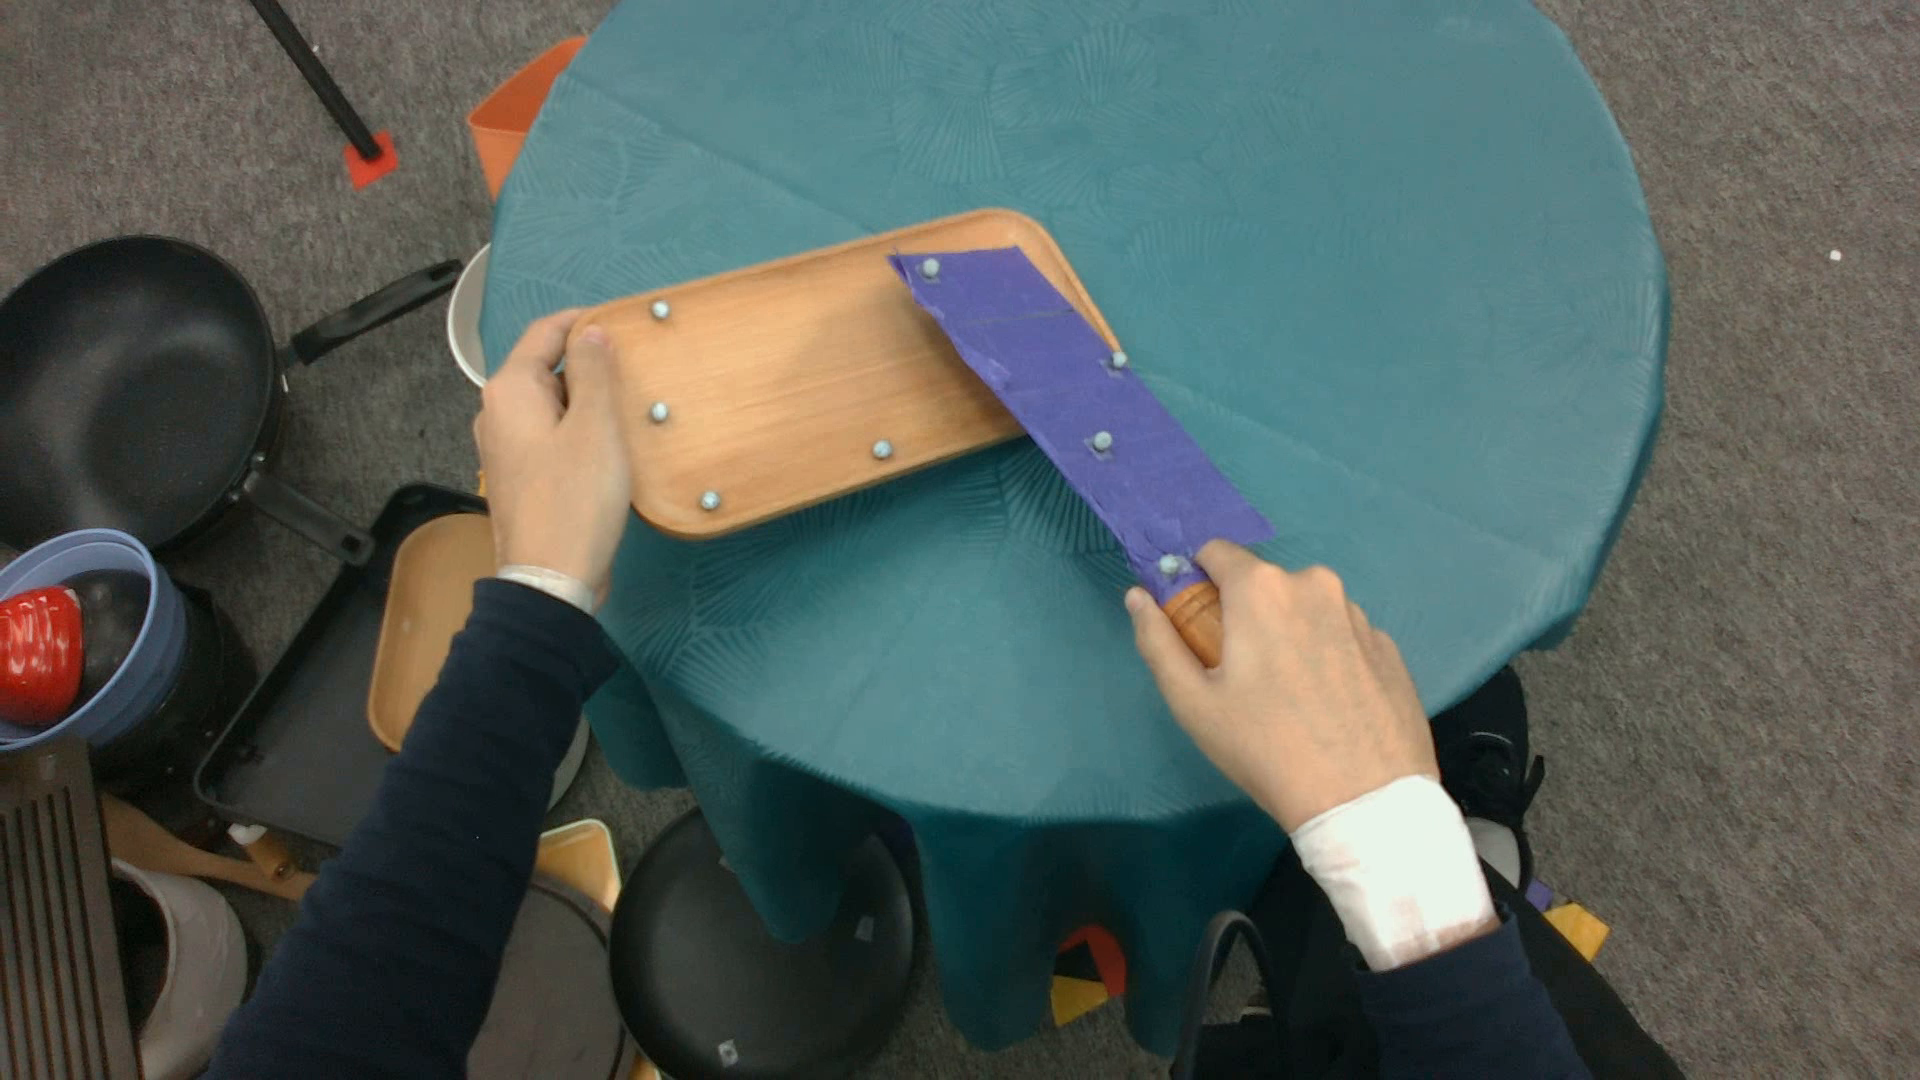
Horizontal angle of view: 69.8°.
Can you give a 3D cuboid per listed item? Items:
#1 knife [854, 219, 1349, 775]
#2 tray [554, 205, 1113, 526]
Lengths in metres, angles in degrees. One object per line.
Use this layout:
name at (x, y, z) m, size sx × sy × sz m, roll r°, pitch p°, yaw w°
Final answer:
knife at (0.074, -0.040, 0.602) m, size 0.104 × 0.032 × 0.316 m, roll -15°, pitch 58°, yaw -40°
tray at (-0.054, -0.087, 0.644) m, size 0.251 × 0.023 × 0.131 m, roll -17°, pitch 68°, yaw -24°
